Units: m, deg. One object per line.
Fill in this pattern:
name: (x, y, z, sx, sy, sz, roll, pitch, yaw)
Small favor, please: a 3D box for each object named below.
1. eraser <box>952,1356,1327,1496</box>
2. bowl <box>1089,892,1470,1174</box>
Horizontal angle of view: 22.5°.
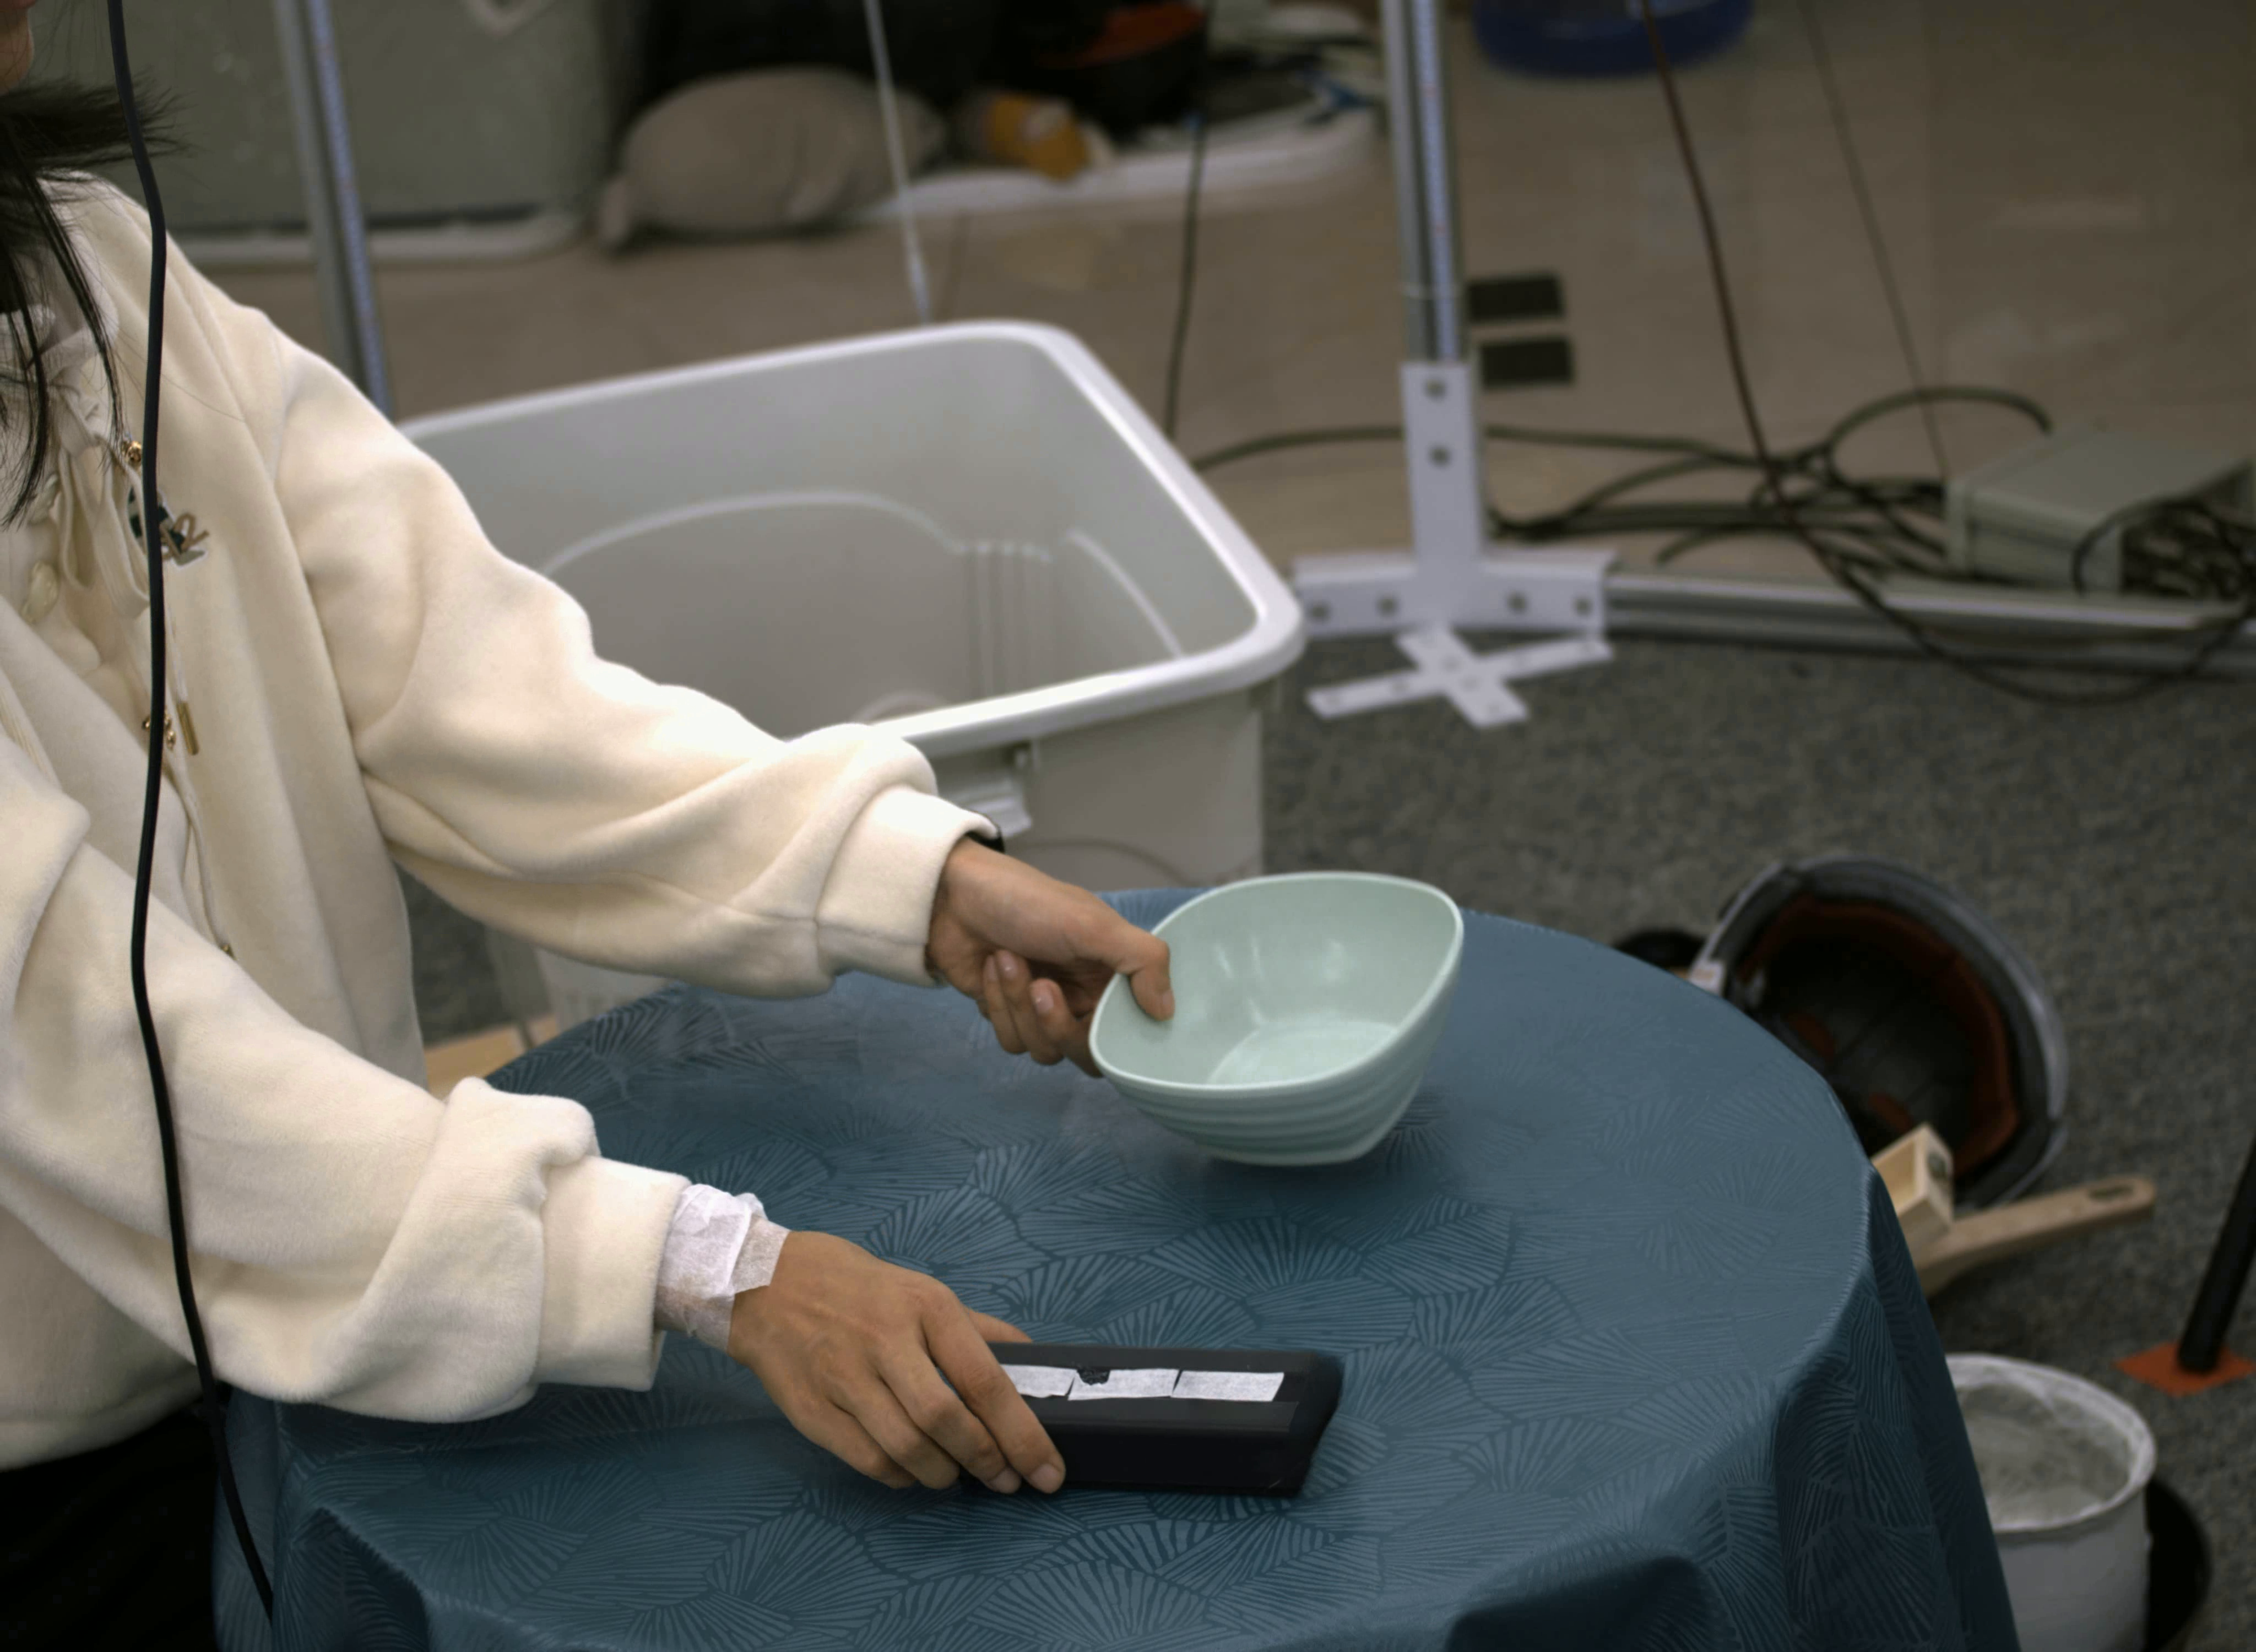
eraser: (0.005, 0.207, 1.967, 0.125, 0.031, 0.053, -2, 27, 15)
bowl: (0.062, 0.085, 2.157, 0.151, 0.059, 0.149, -10, 29, 6)
